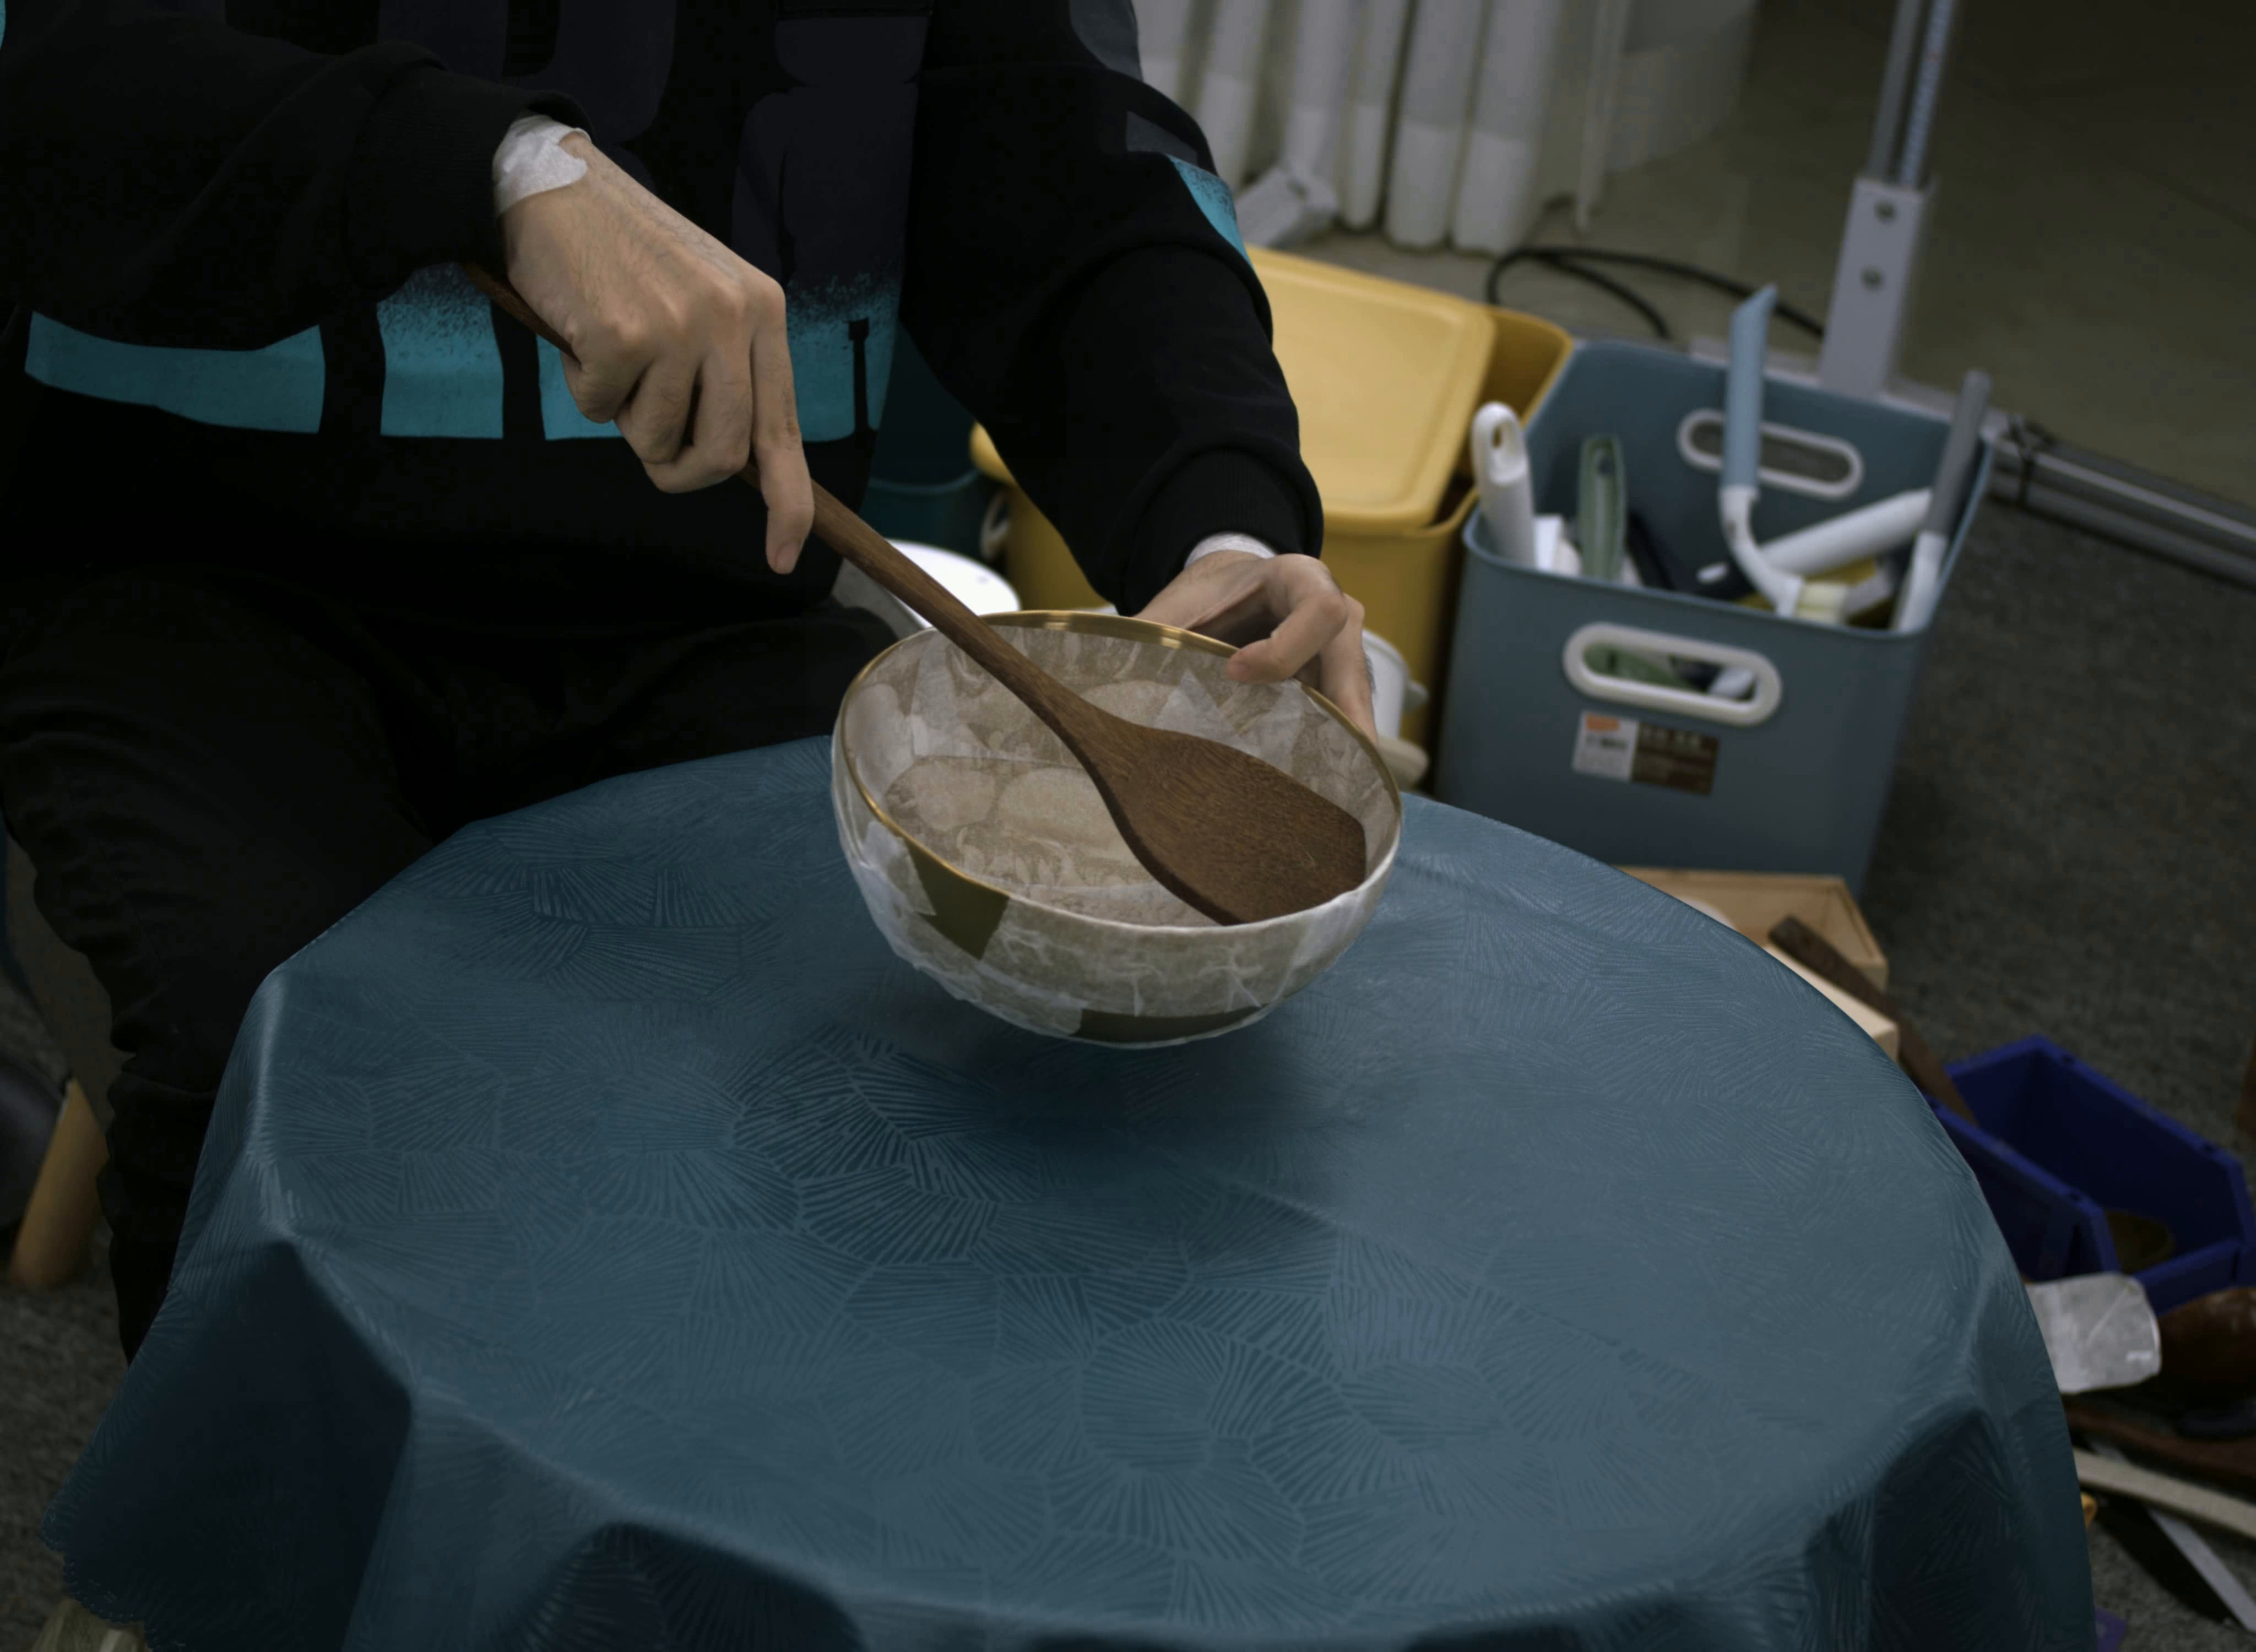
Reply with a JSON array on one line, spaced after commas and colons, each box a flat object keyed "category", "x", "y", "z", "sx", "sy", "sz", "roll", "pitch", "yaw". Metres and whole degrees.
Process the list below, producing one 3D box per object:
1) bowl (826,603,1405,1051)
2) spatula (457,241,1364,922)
[{"category": "bowl", "x": -0.010, "y": 0.014, "z": 1.862, "sx": 0.214, "sy": 0.094, "sz": 0.216, "roll": 7, "pitch": 32, "yaw": -5}, {"category": "spatula", "x": -0.077, "y": -0.085, "z": 1.845, "sx": 0.385, "sy": 0.016, "sz": 0.096, "roll": 38, "pitch": 35, "yaw": 0}]
